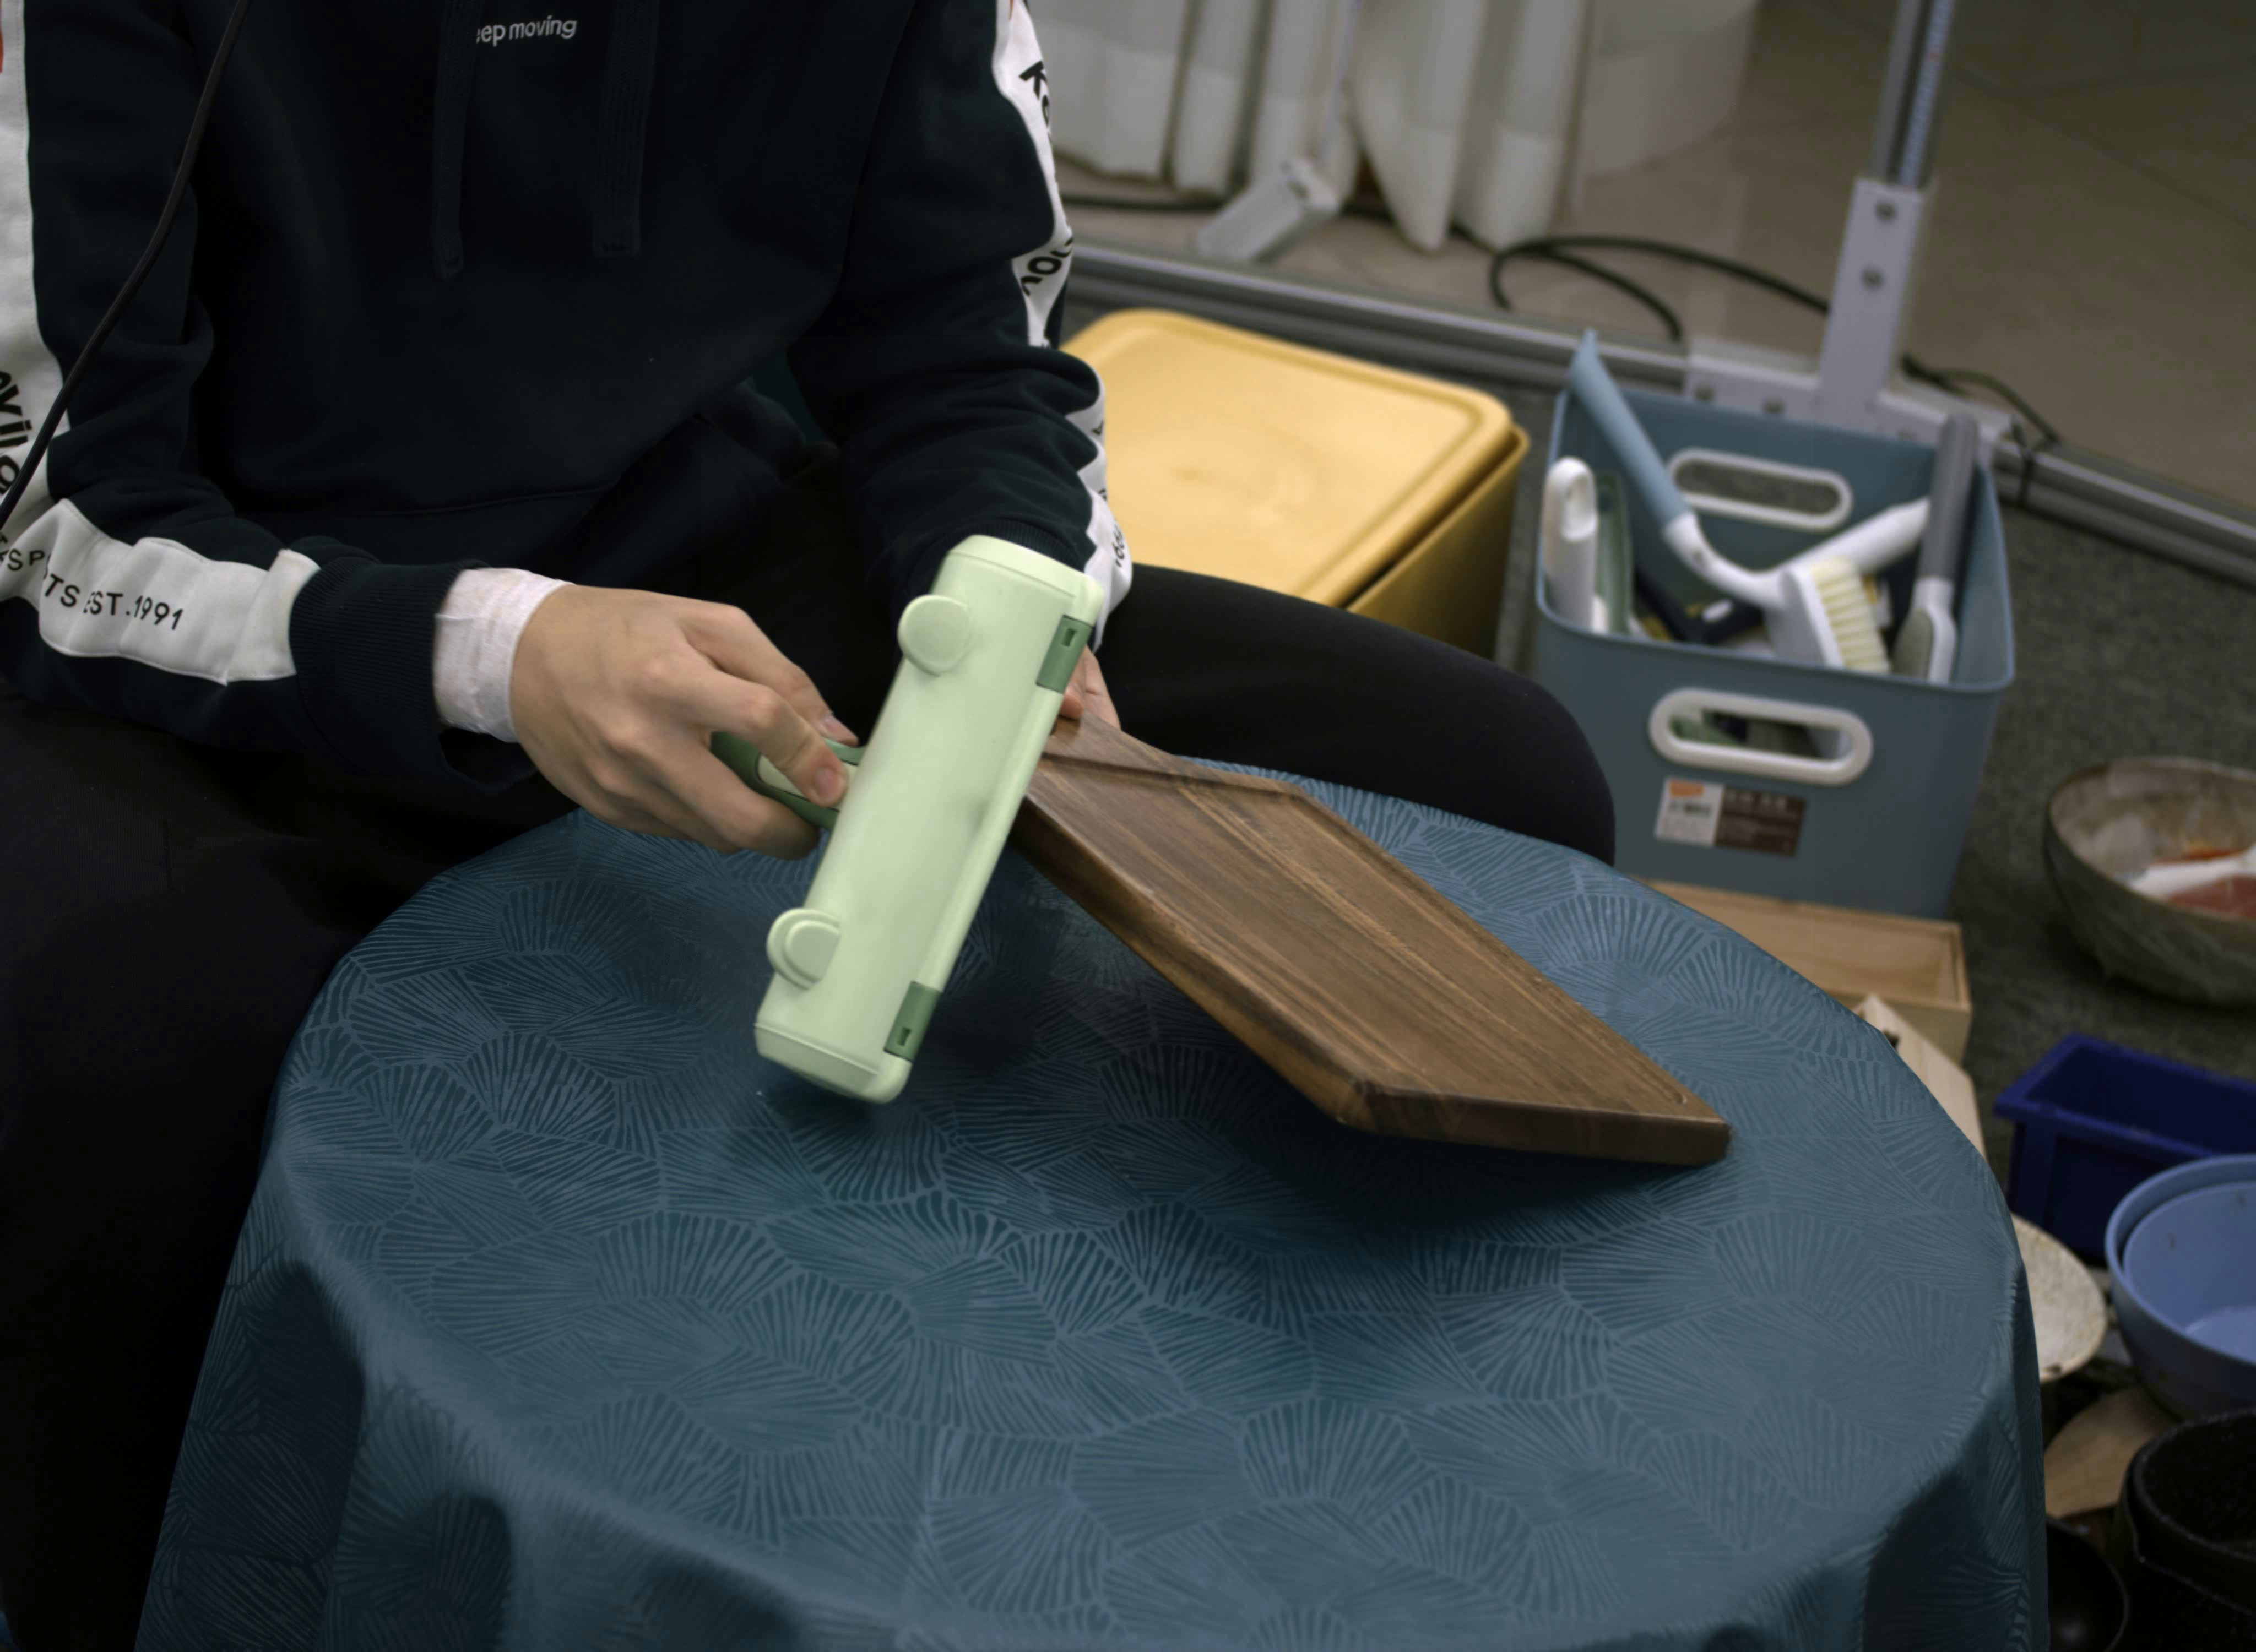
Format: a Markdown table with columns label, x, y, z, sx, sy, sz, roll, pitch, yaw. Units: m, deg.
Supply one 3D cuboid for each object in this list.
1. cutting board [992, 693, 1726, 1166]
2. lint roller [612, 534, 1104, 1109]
| label | x | y | z | sx | sy | sz | roll | pitch | yaw |
| --- | --- | --- | --- | --- | --- | --- | --- | --- | --- |
| cutting board | 0.038 | 0.019 | 1.898 | 0.199 | 0.023 | 0.355 | 10 | 22 | -46 |
| lint roller | -0.118 | -0.020 | 1.842 | 0.184 | 0.199 | 0.081 | 19 | -6 | 27 |
